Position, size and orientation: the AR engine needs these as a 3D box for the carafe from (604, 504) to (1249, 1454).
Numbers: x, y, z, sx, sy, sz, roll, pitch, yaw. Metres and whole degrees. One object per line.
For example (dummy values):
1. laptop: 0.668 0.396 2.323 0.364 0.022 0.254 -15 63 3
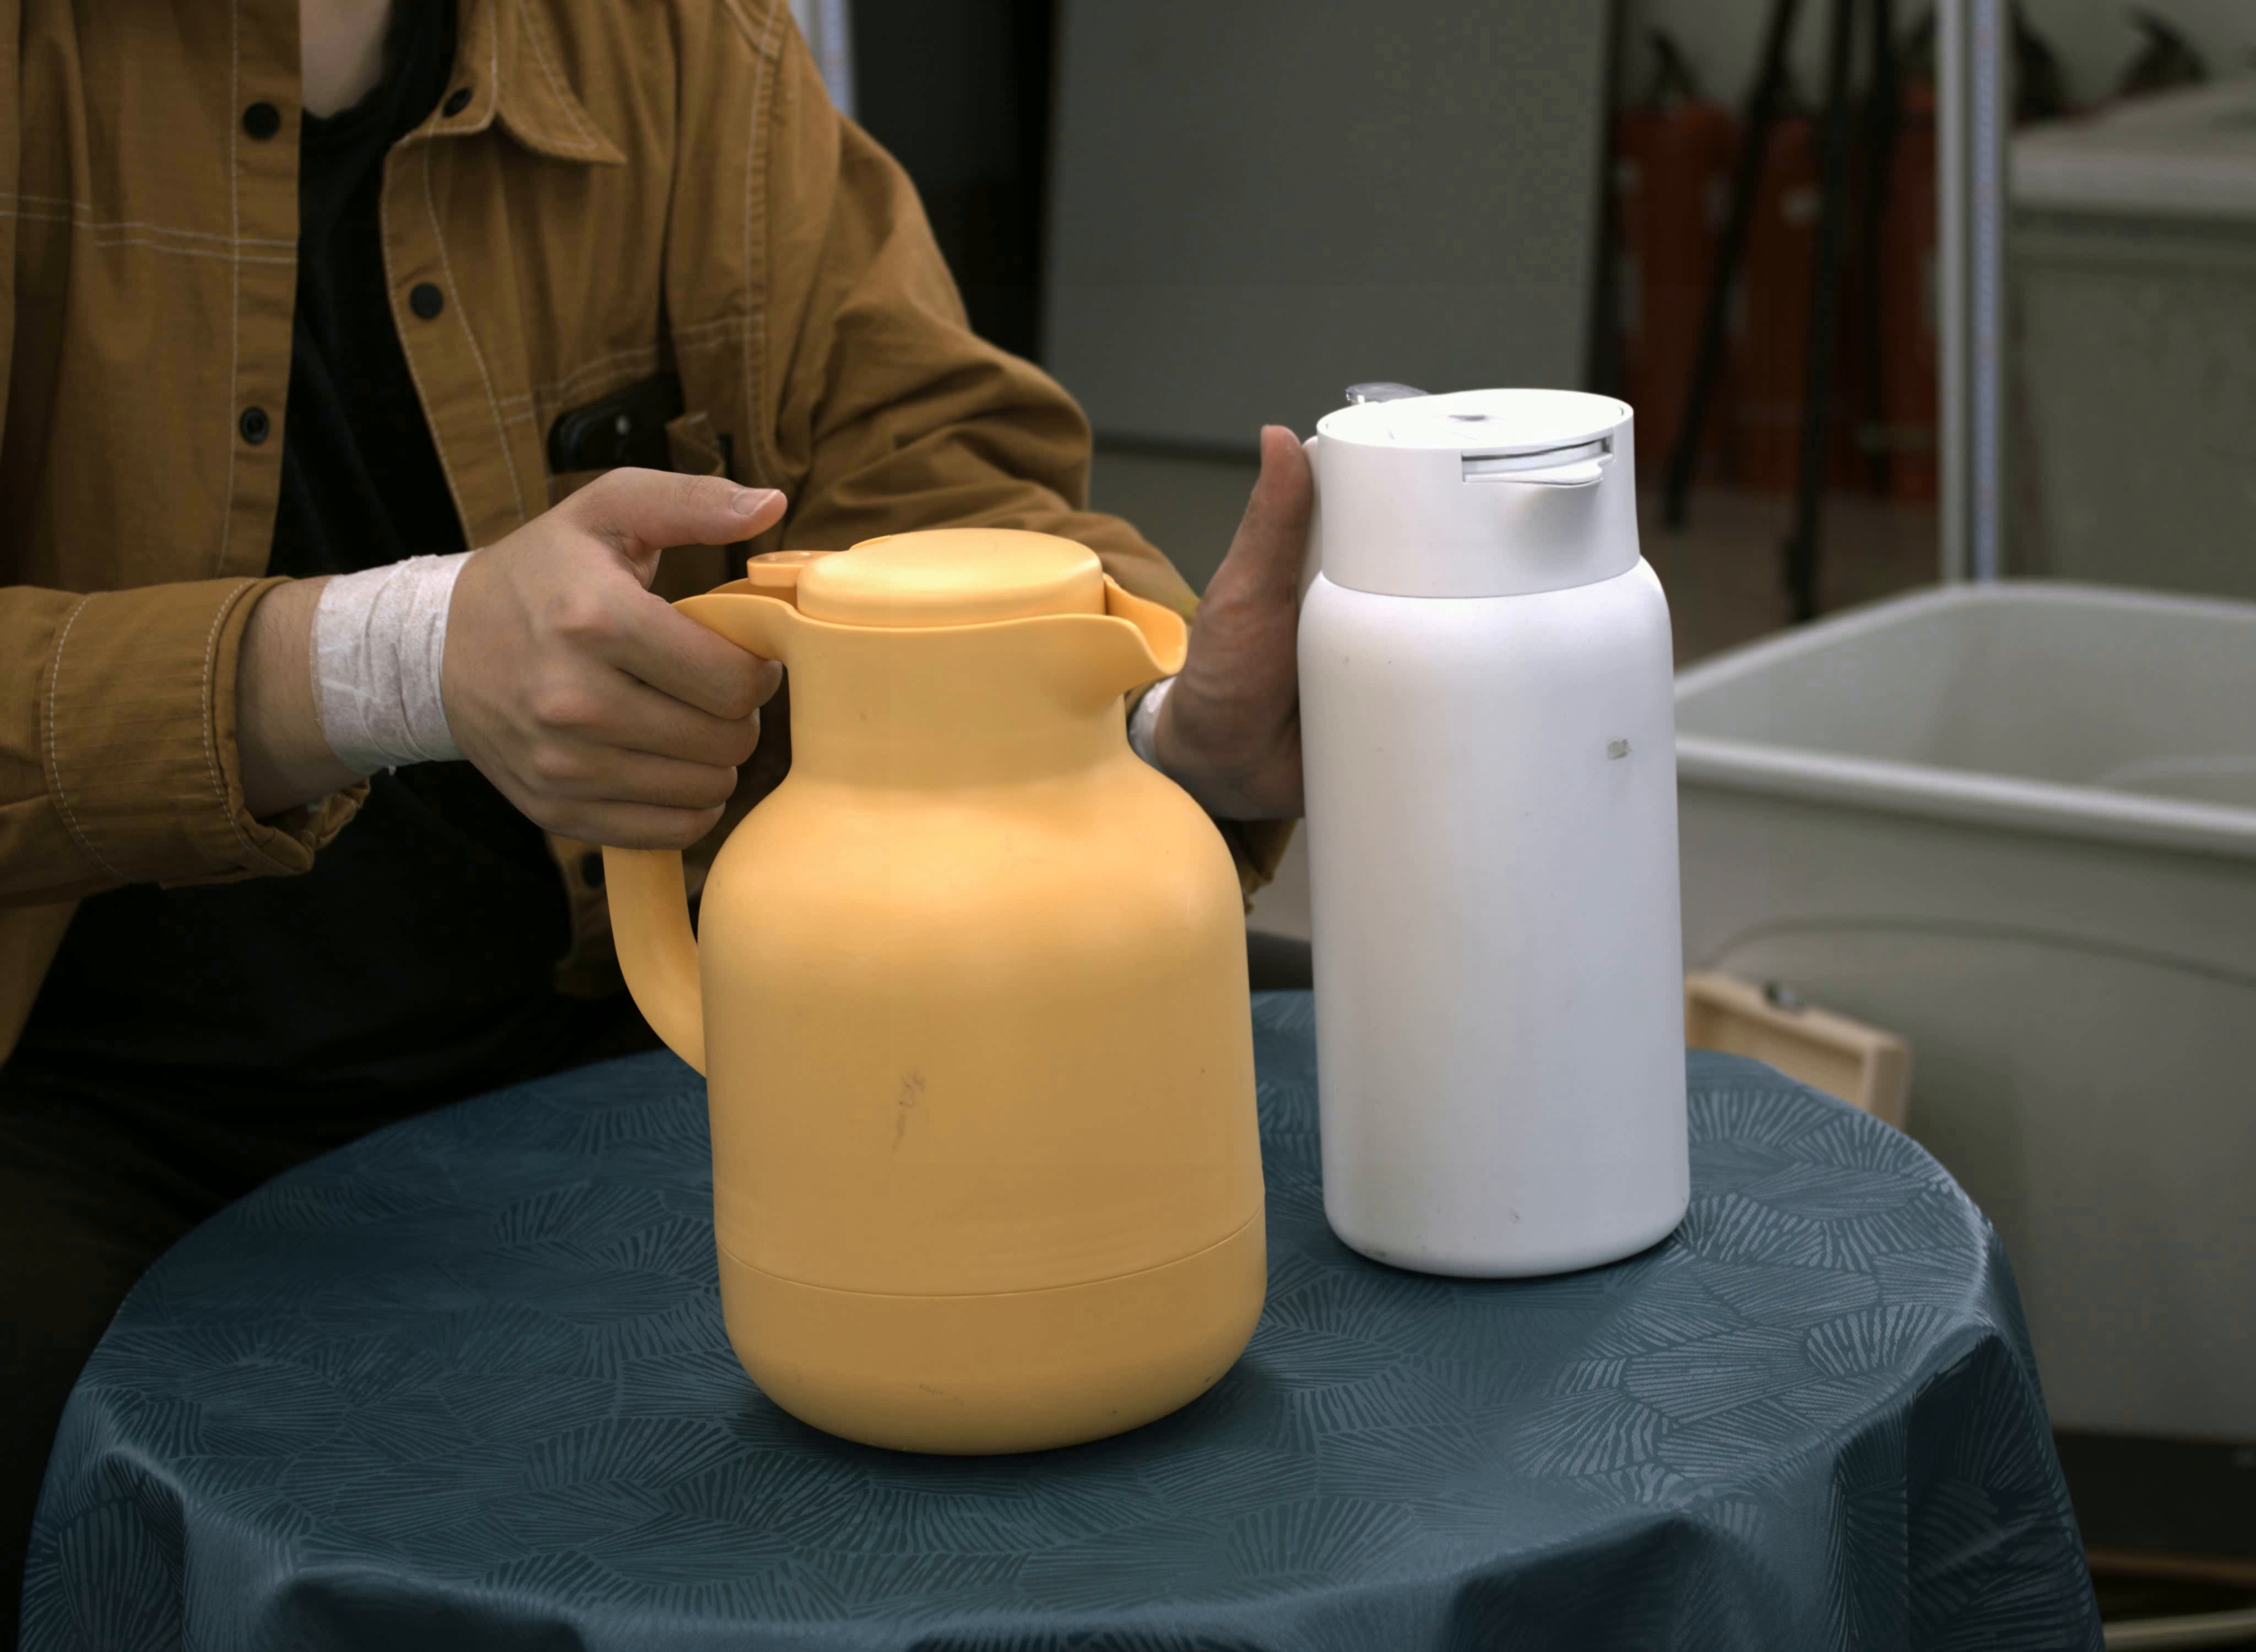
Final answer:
1. carafe: -0.062 0.038 1.576 0.203 0.263 0.160 6 14 33

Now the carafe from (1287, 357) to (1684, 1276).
1. carafe: 0.103 -0.006 1.694 0.121 0.272 0.174 -12 15 -23
